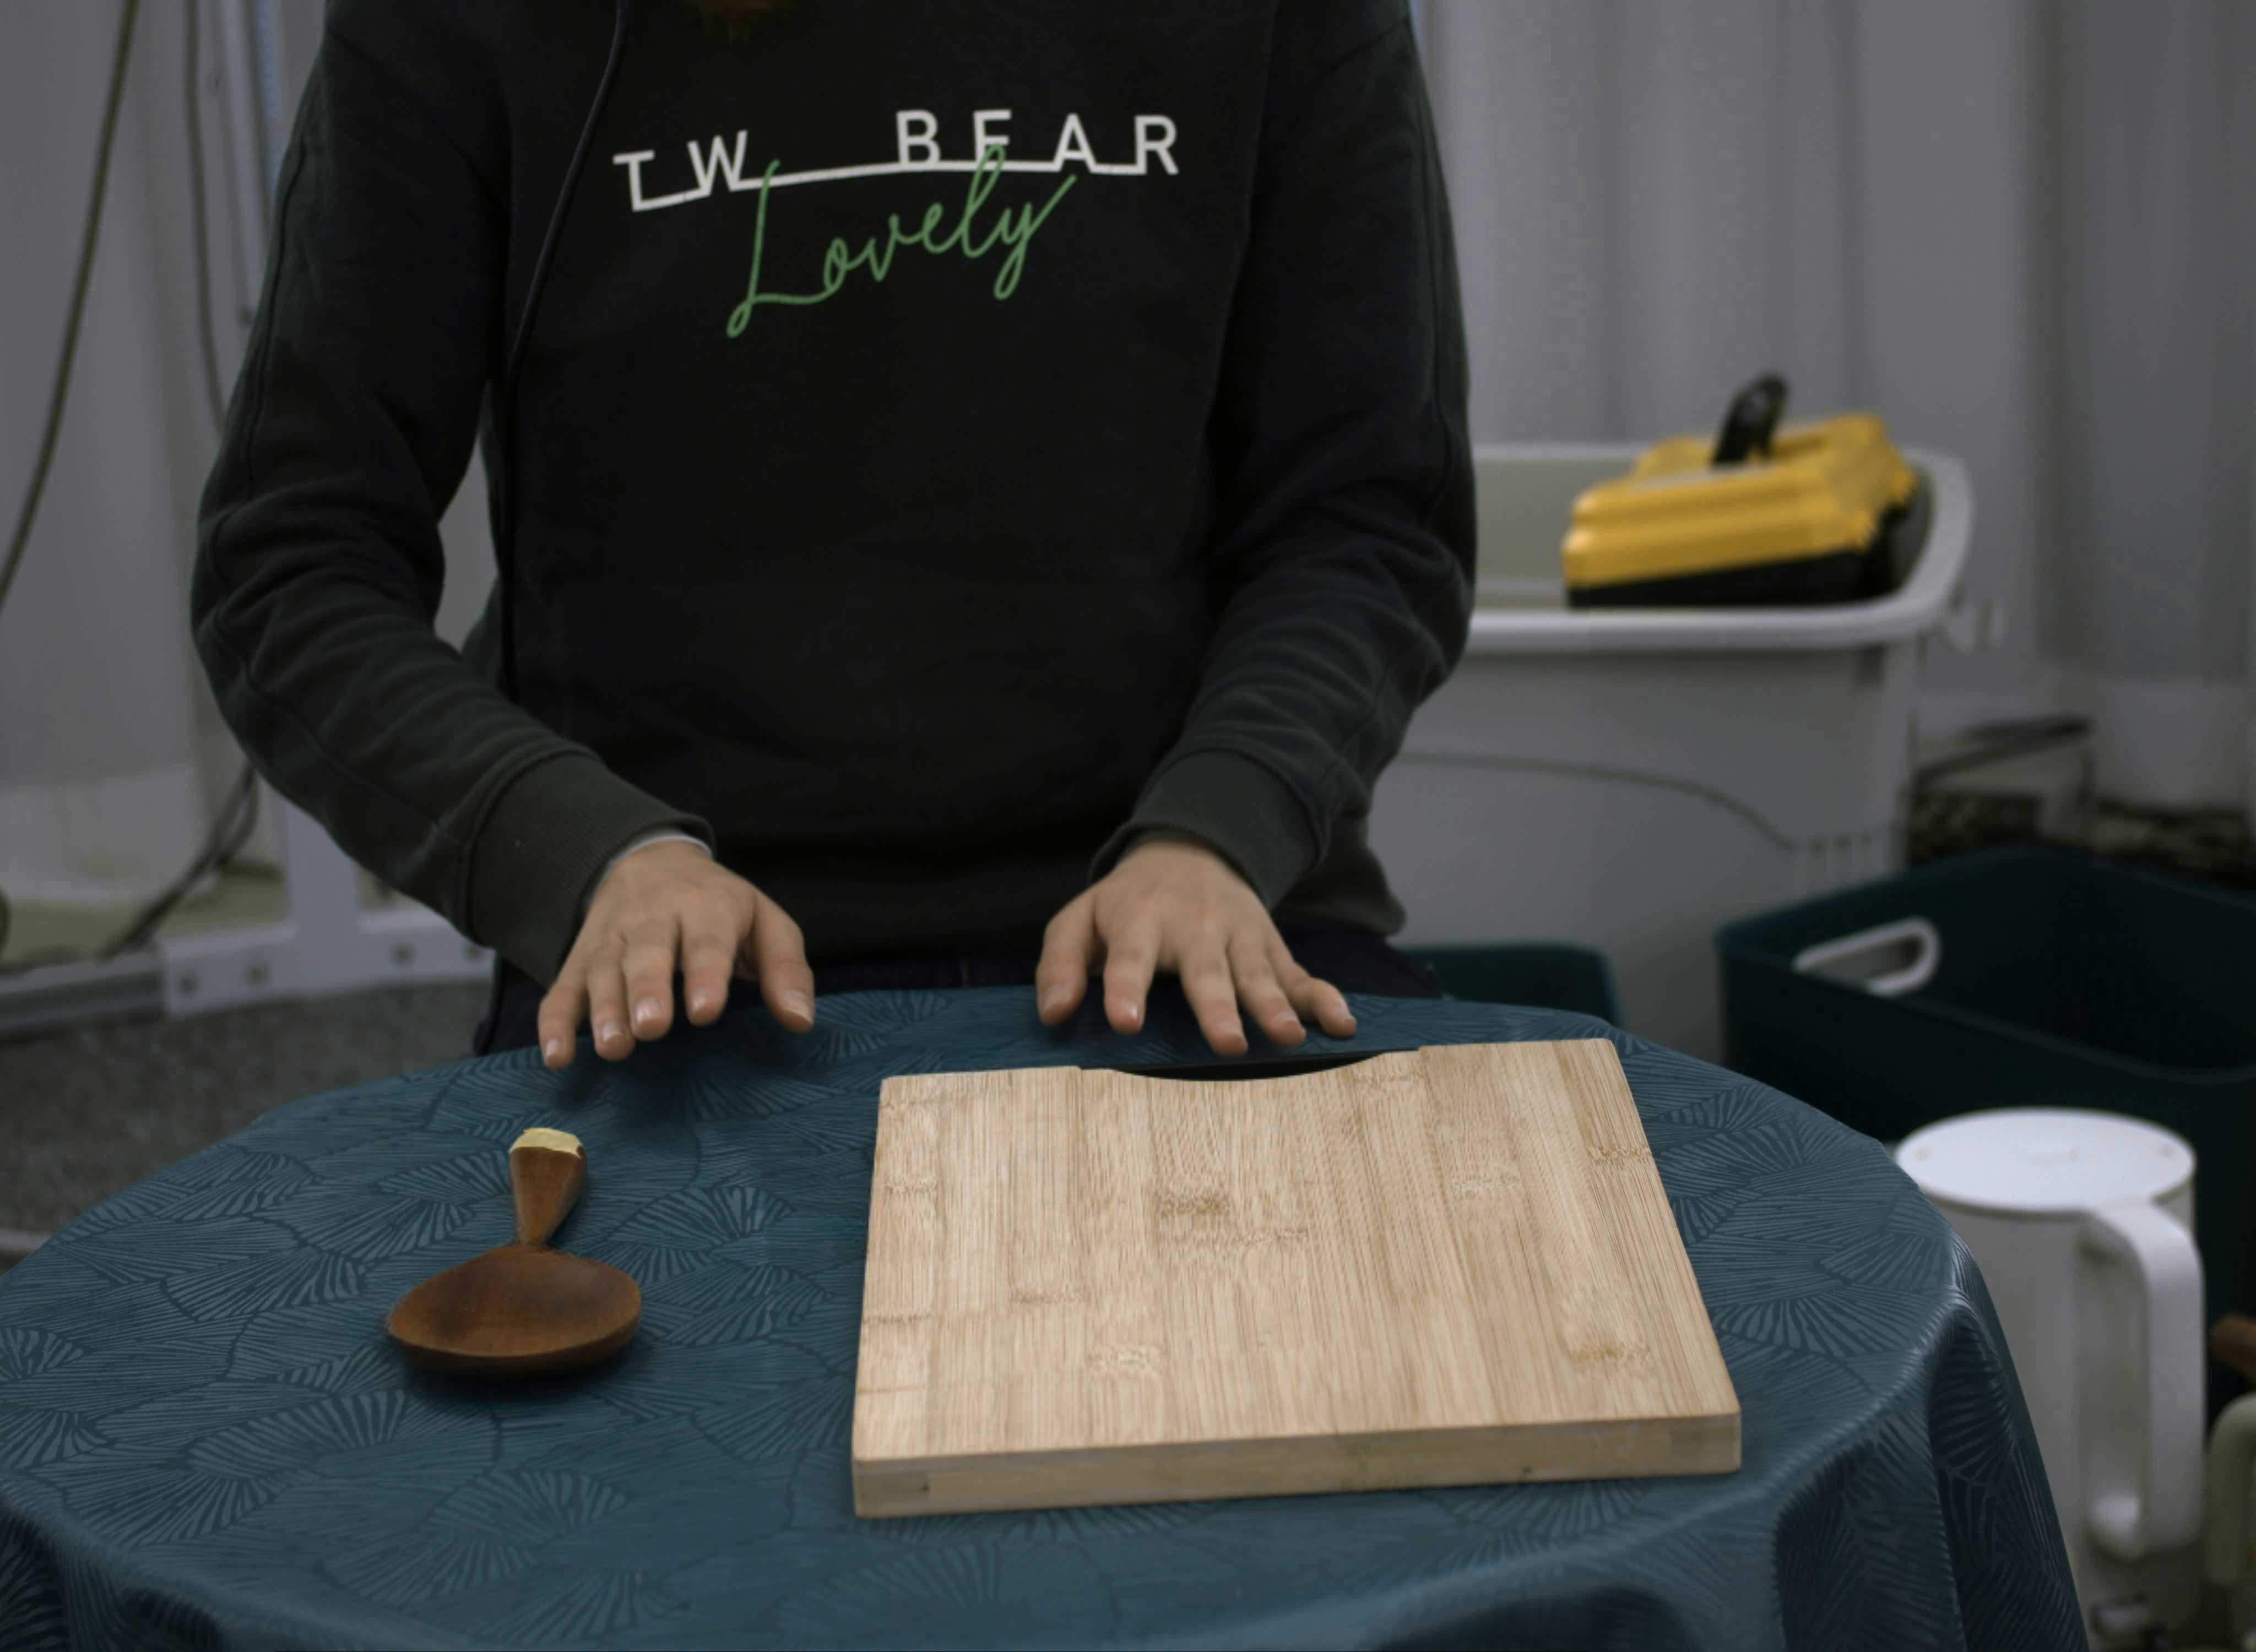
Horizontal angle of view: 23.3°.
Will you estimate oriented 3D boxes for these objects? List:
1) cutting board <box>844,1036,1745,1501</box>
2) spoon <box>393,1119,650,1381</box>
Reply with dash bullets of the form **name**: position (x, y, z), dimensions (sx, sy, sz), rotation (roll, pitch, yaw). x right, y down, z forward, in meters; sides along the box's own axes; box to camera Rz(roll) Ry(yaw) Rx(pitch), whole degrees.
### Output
- **cutting board**: position (0.043, 0.127, 1.630), dimensions (0.250, 0.023, 0.351), rotation (-3, 15, -1)
- **spoon**: position (-0.180, 0.130, 1.658), dimensions (0.075, 0.017, 0.217), rotation (-5, 16, -2)
